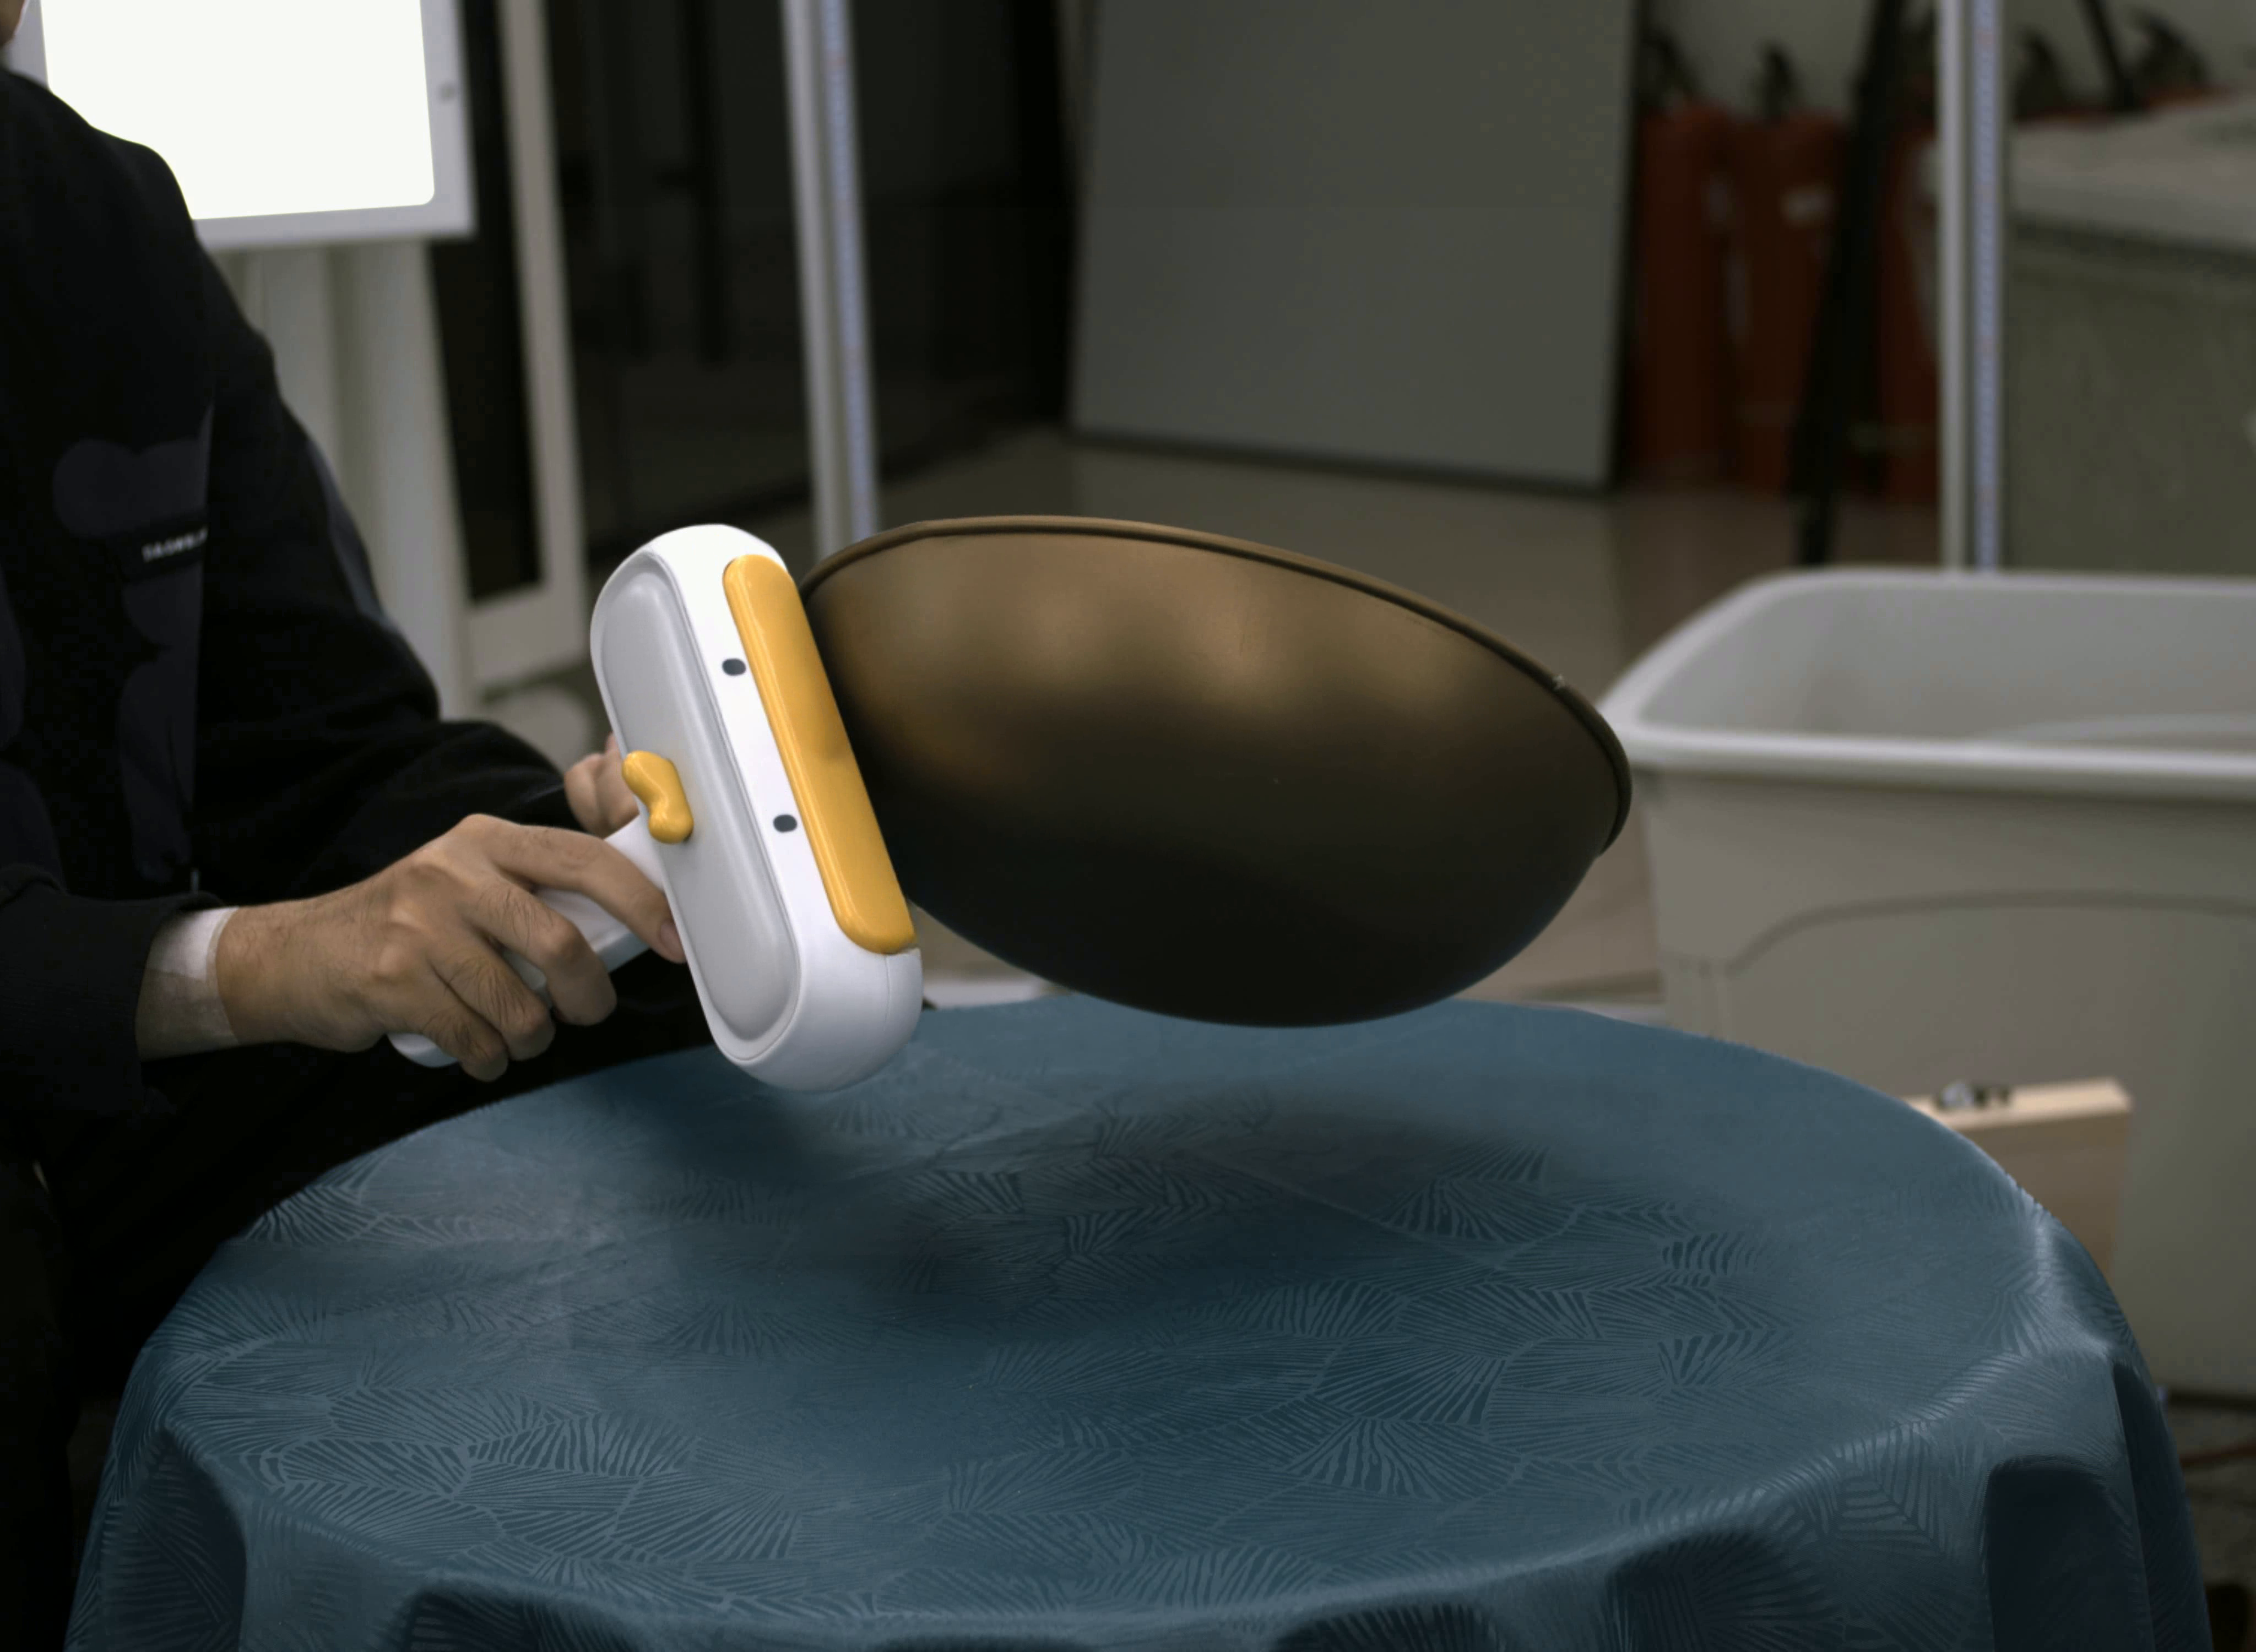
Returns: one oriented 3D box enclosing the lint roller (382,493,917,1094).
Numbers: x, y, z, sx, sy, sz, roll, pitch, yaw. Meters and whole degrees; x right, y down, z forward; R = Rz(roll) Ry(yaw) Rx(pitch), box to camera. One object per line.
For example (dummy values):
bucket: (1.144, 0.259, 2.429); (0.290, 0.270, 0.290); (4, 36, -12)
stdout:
lint roller: (-0.162, 0.019, 1.716); (0.072, 0.195, 0.194); (4, -38, -48)

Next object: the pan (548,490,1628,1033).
pan: (-0.049, 0.006, 1.785); (0.467, 0.087, 0.283); (-9, -32, 43)
